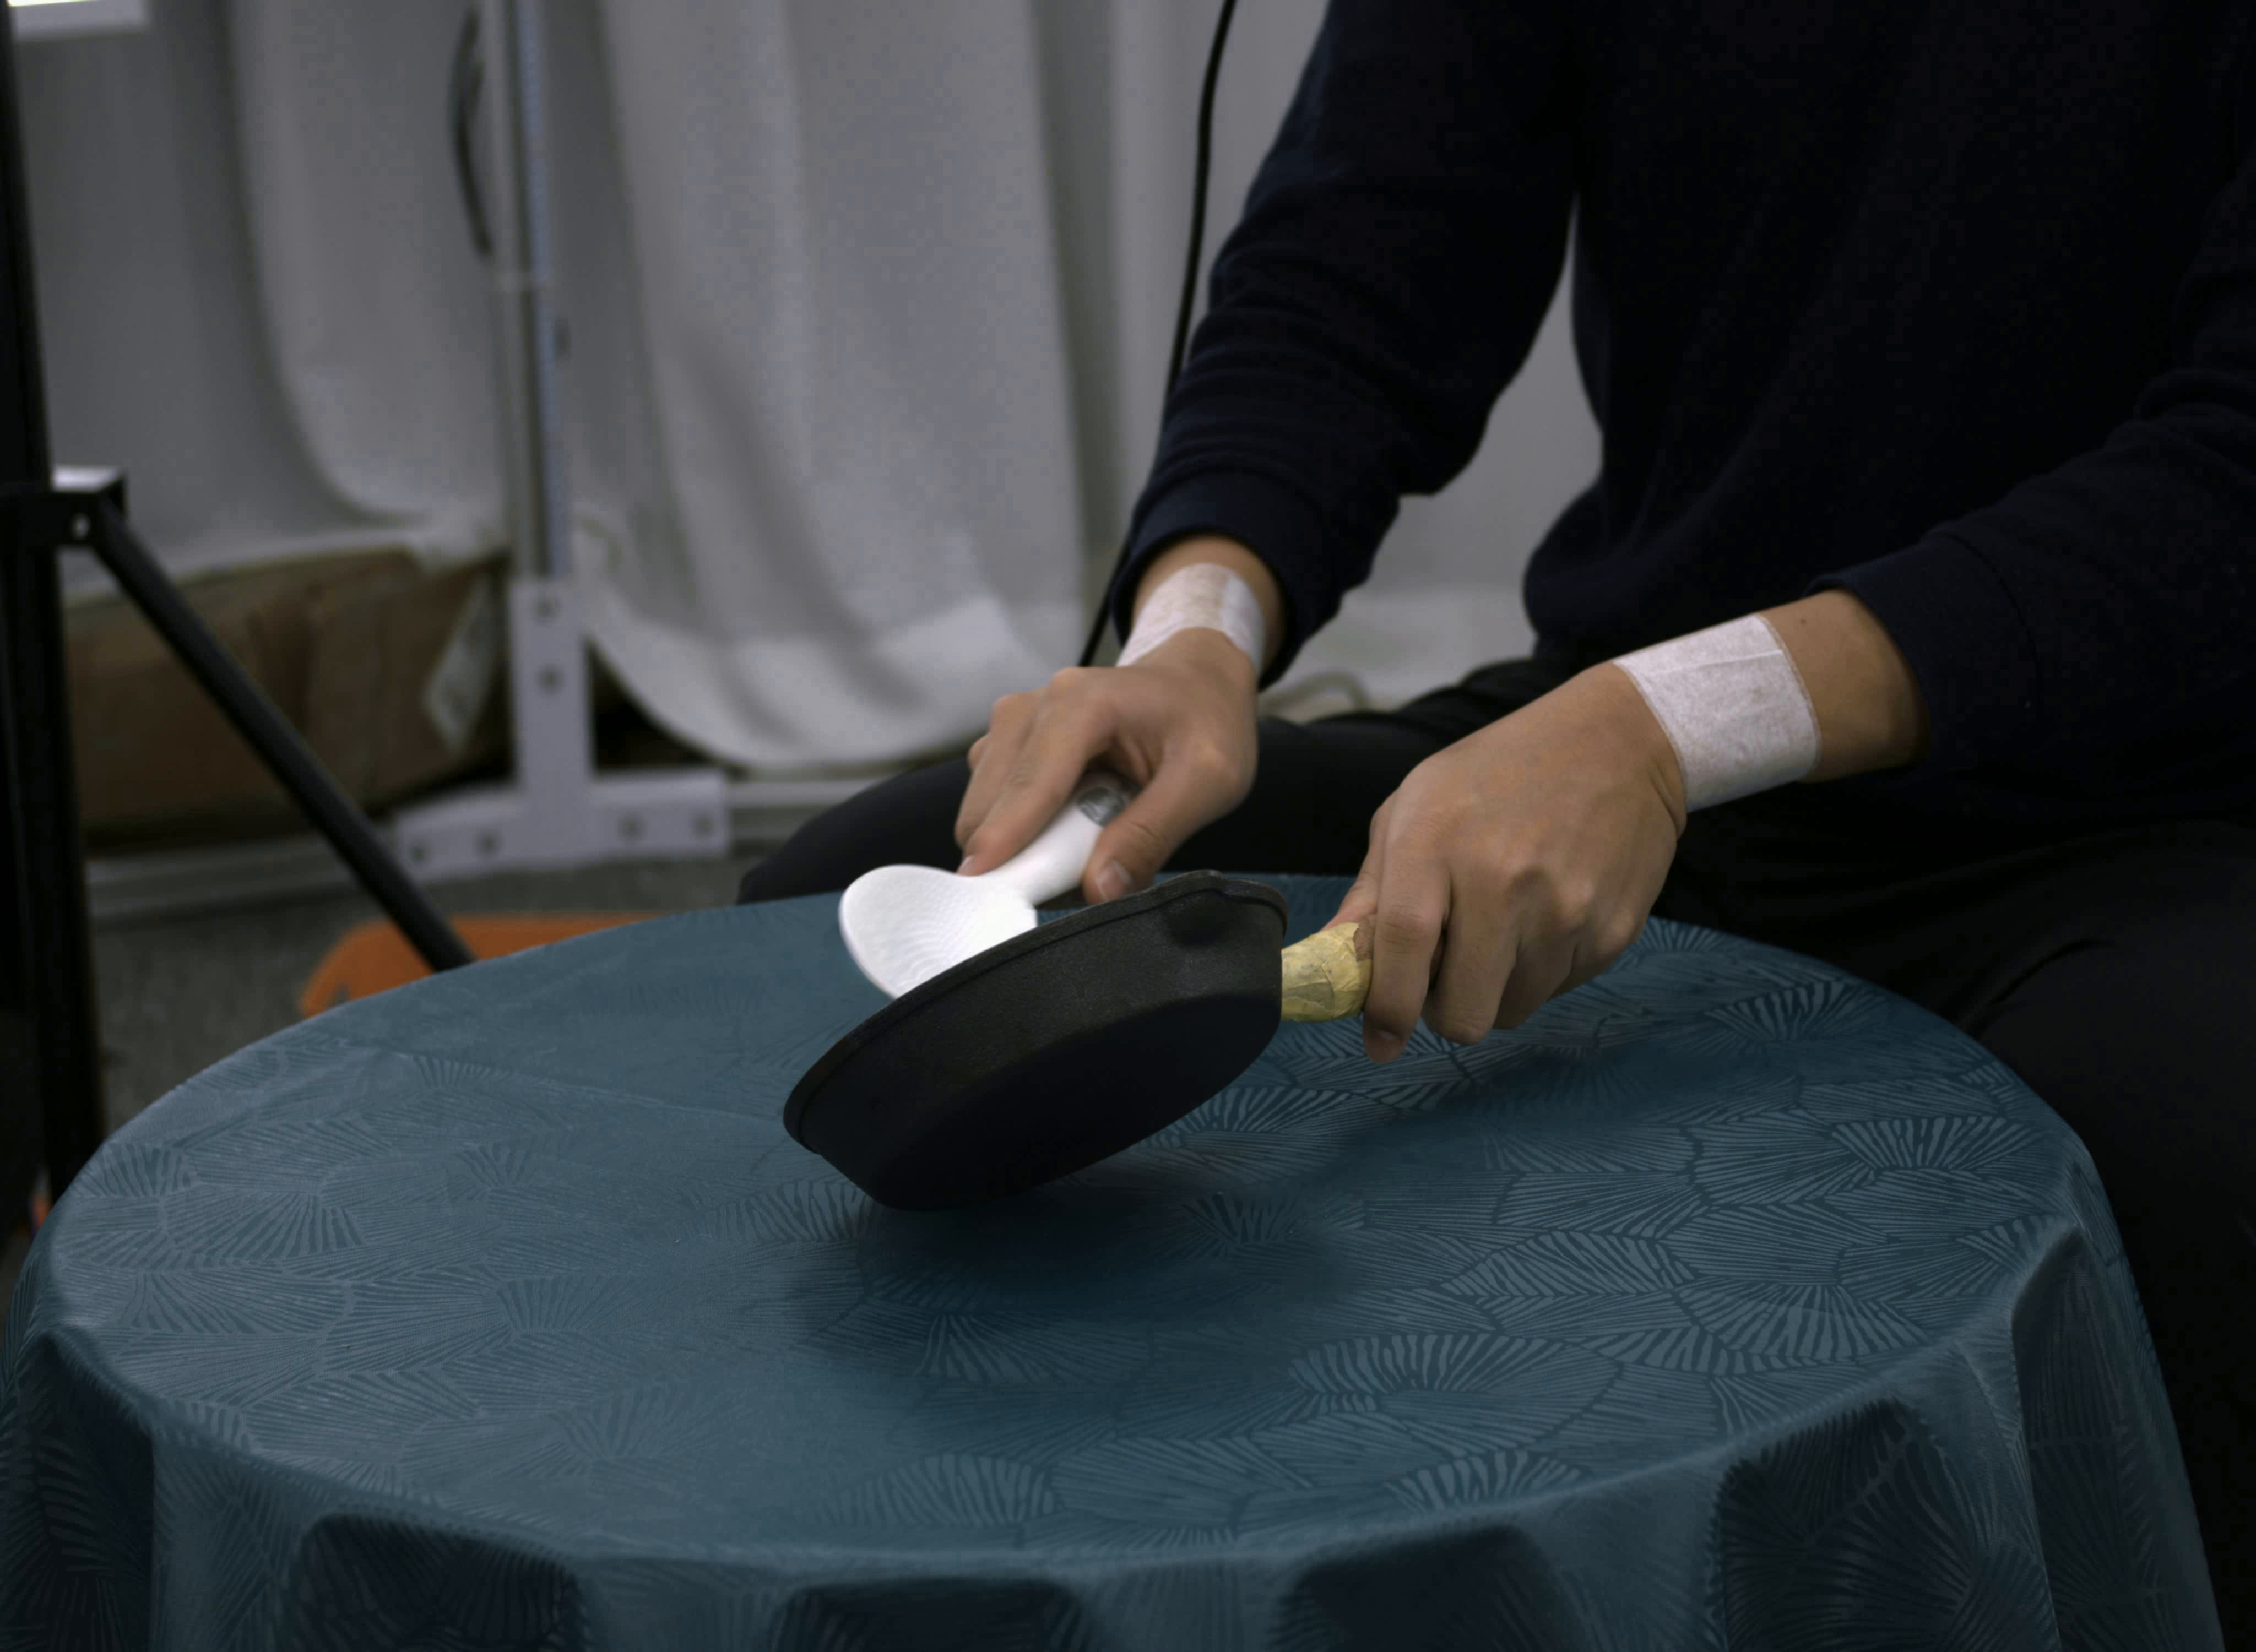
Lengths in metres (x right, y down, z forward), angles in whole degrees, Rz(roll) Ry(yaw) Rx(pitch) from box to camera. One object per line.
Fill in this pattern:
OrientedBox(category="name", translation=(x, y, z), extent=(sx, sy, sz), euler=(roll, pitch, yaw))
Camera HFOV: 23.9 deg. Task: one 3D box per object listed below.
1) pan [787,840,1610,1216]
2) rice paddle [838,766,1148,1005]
OrientedBox(category="pan", translation=(0.040, 0.050, 1.569), extent=(0.316, 0.050, 0.171), euler=(-11, -23, -40))
OrientedBox(category="rice paddle", translation=(-0.036, 0.022, 1.637), extent=(0.069, 0.029, 0.203), euler=(31, 22, 7))
